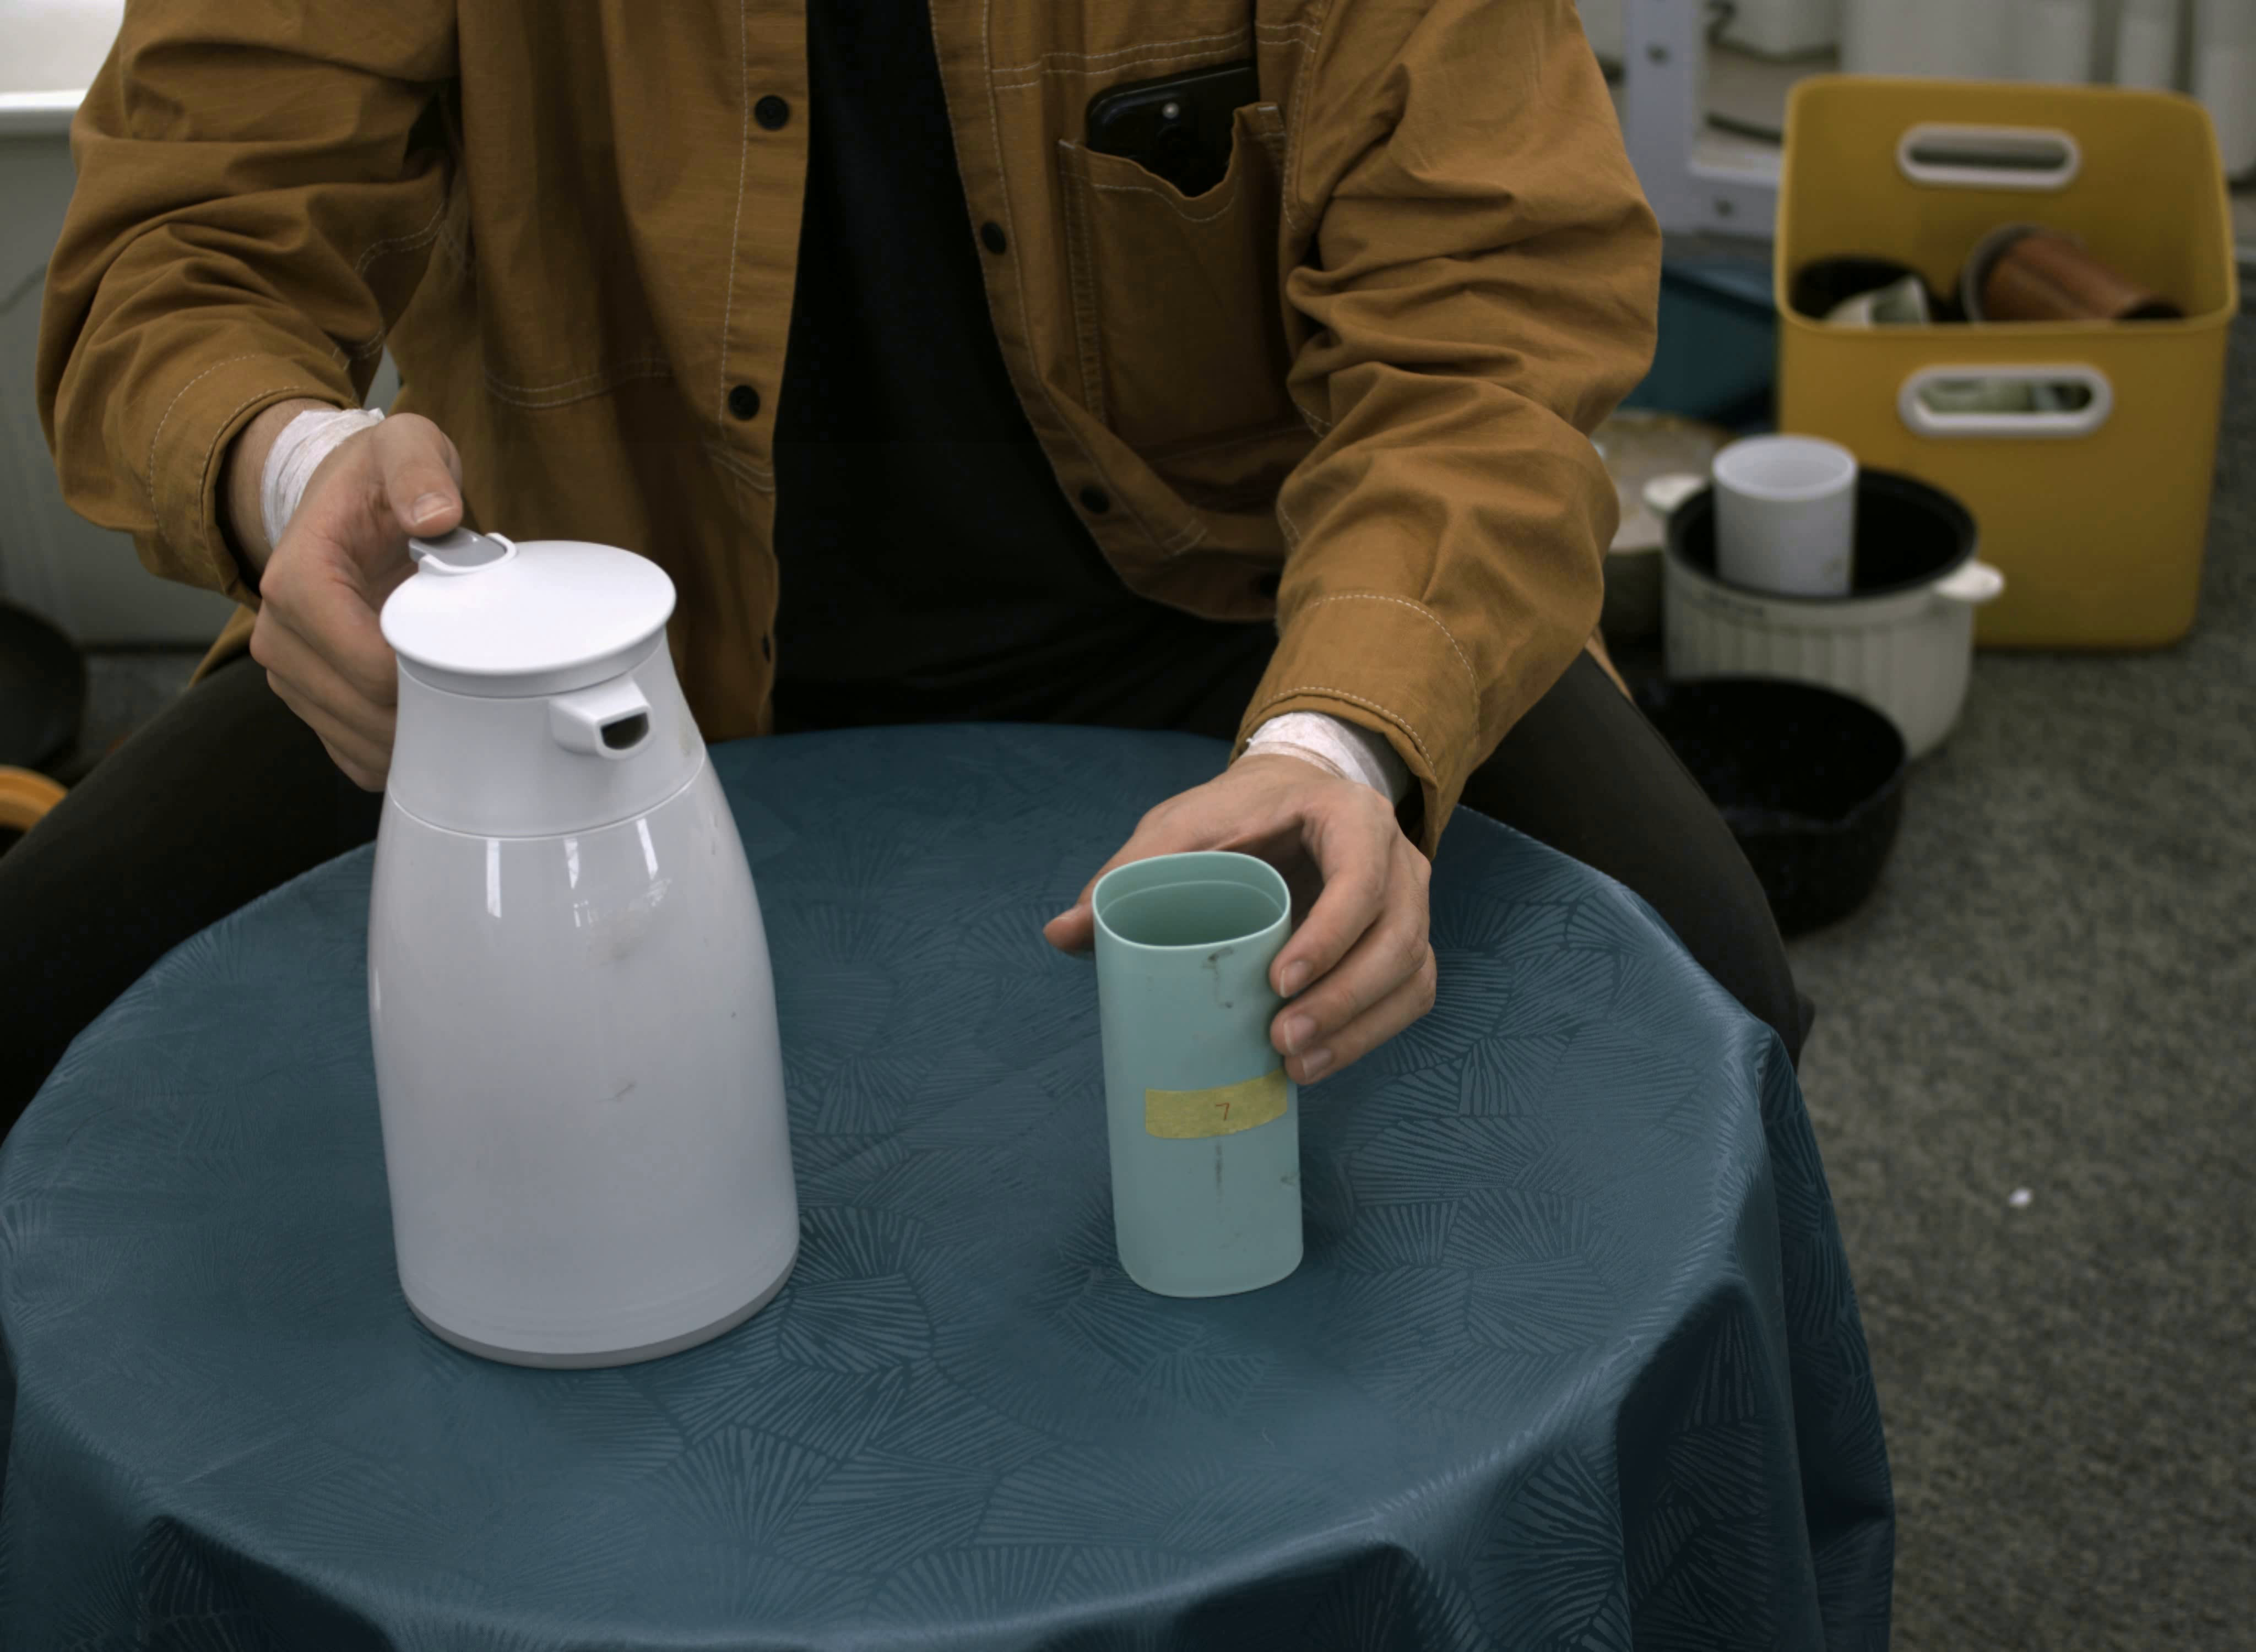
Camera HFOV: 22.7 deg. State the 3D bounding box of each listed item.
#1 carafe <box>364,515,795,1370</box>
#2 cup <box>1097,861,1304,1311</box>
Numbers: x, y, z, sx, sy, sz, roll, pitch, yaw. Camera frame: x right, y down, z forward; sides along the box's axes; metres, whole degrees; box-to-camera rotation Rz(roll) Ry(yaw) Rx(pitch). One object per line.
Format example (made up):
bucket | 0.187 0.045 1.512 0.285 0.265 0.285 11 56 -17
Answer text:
carafe | -0.191 0.027 1.795 0.133 0.246 0.168 -19 30 -29
cup | 0.024 0.082 1.799 0.066 0.131 0.068 -2 27 2
